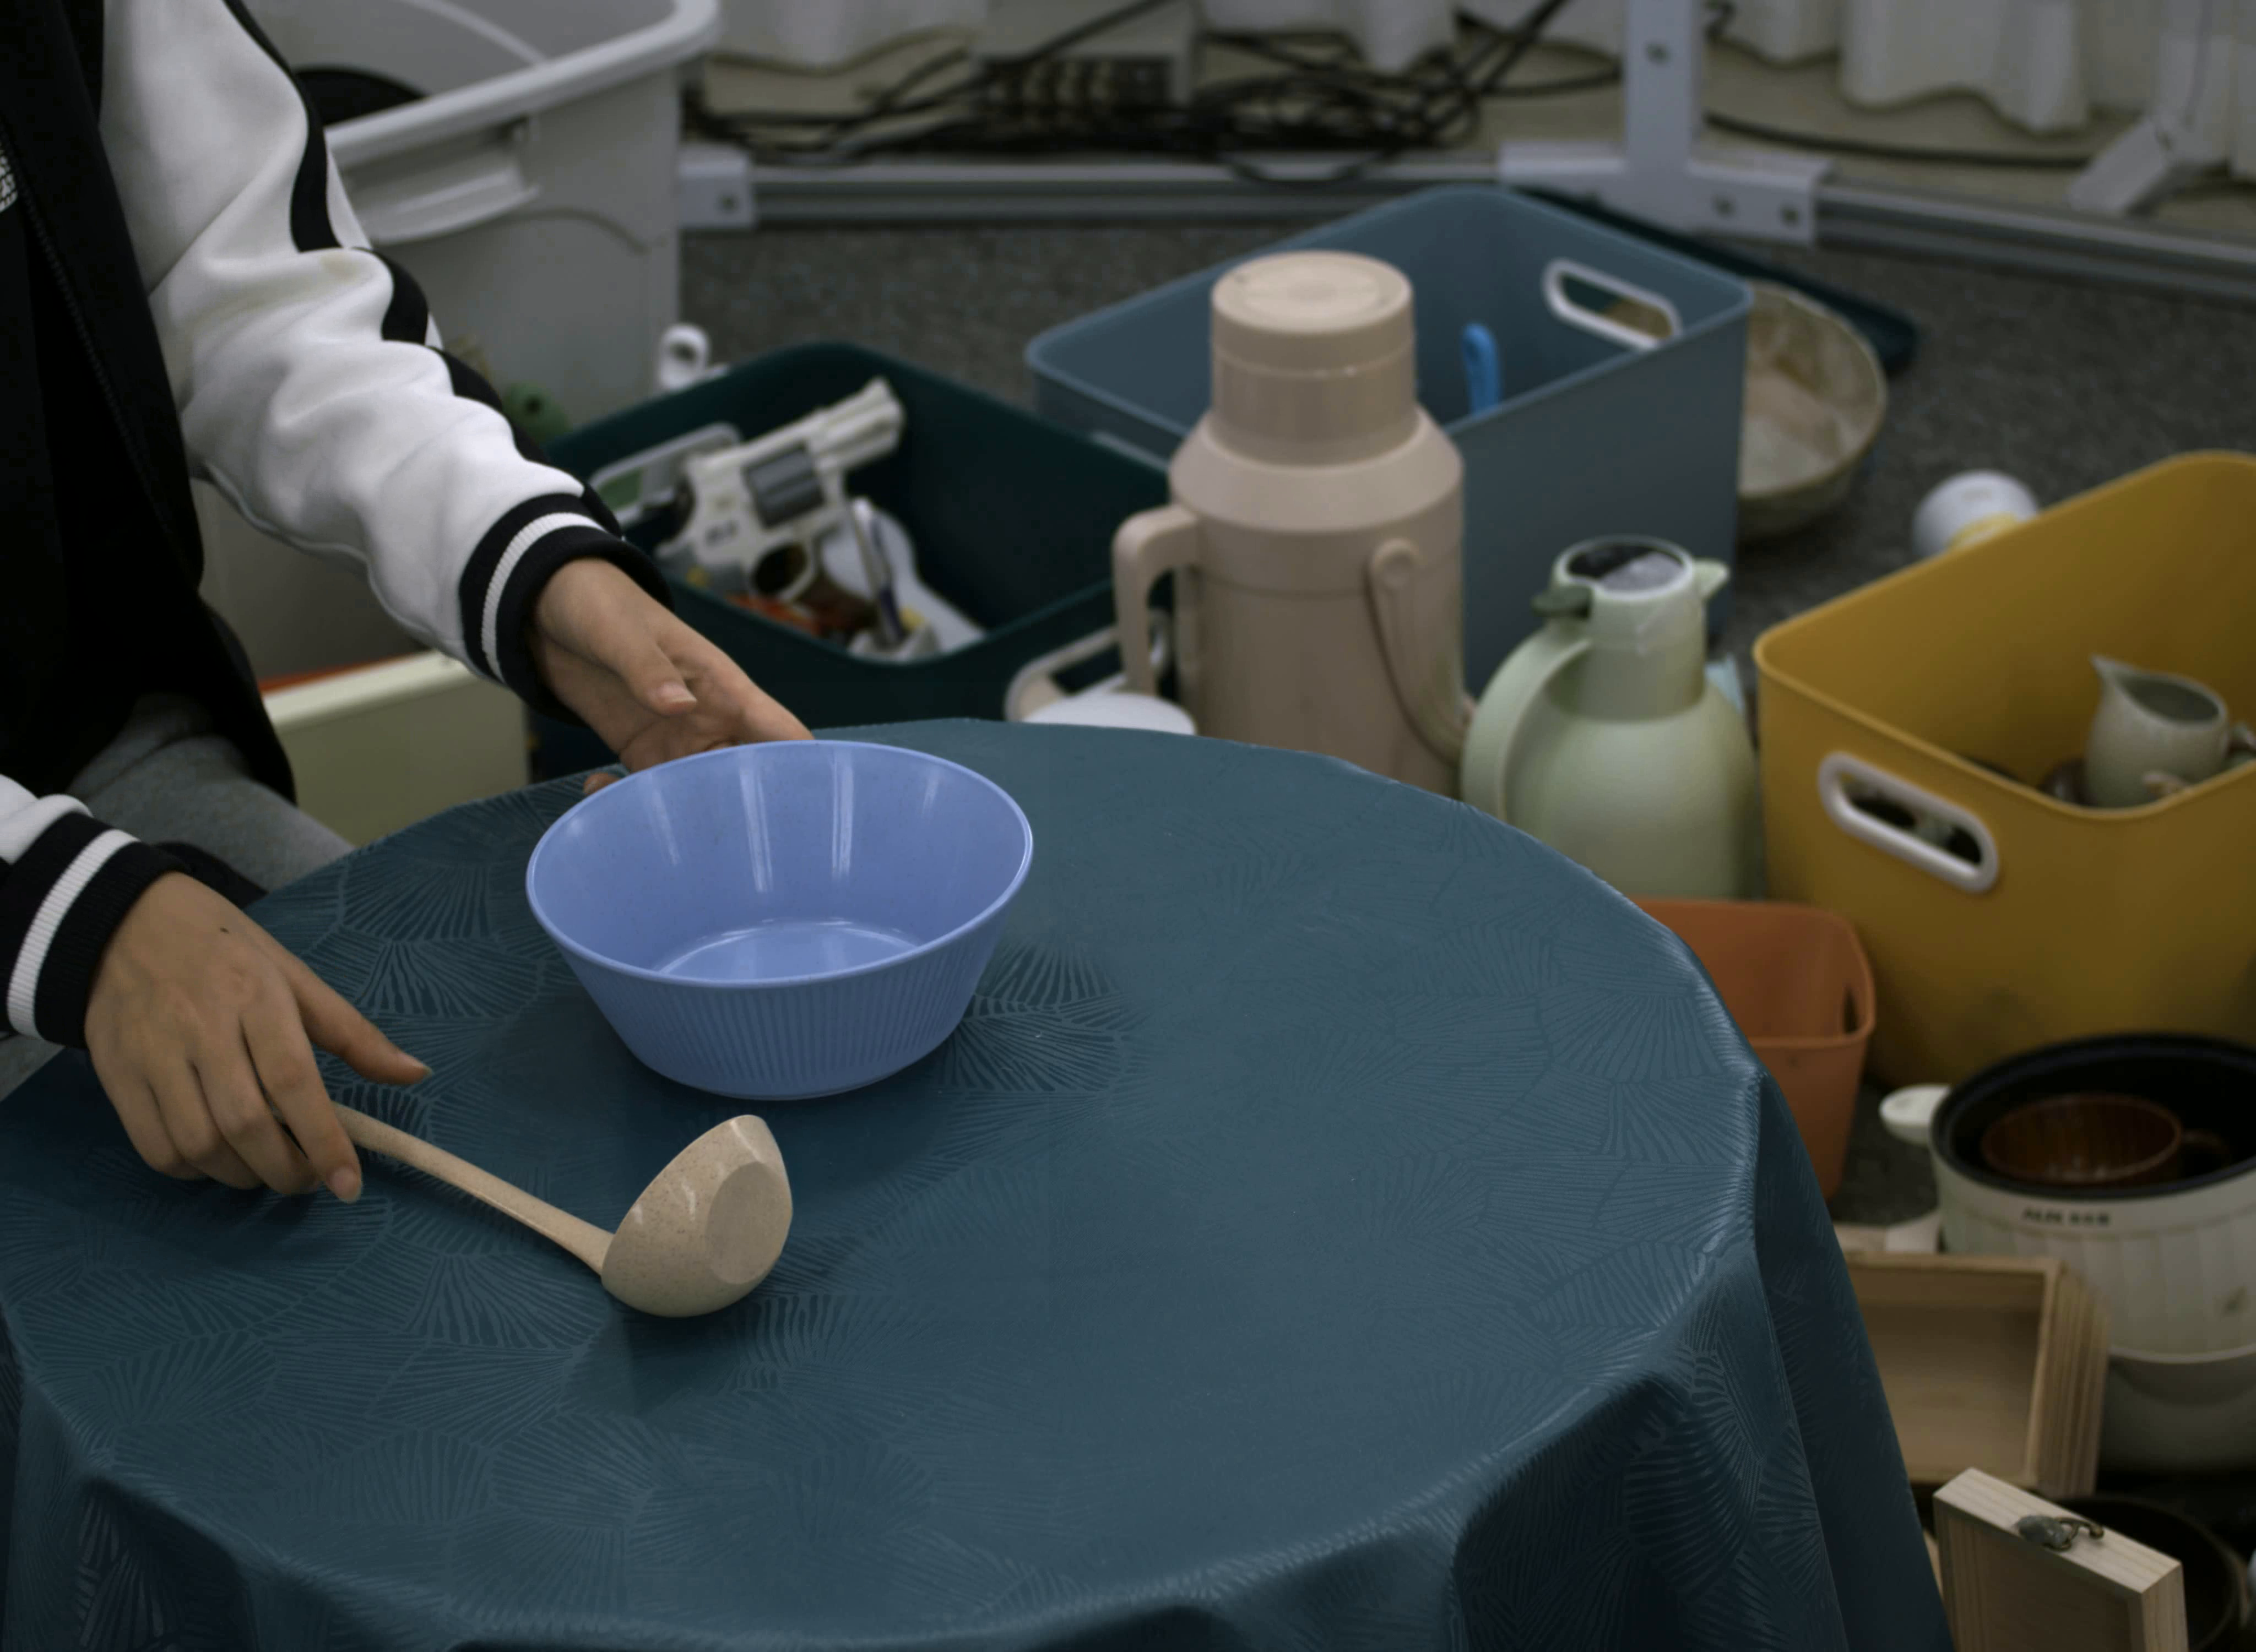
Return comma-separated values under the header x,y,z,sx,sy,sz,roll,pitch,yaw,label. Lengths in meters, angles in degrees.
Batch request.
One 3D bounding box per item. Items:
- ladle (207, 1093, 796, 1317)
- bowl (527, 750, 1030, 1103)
x,y,z,sx,sy,sz,roll,pitch,yaw,label
-0.217,0.098,1.851,0.253,0.072,0.073,18,32,34,ladle
-0.120,0.041,1.956,0.175,0.069,0.179,-1,27,1,bowl
